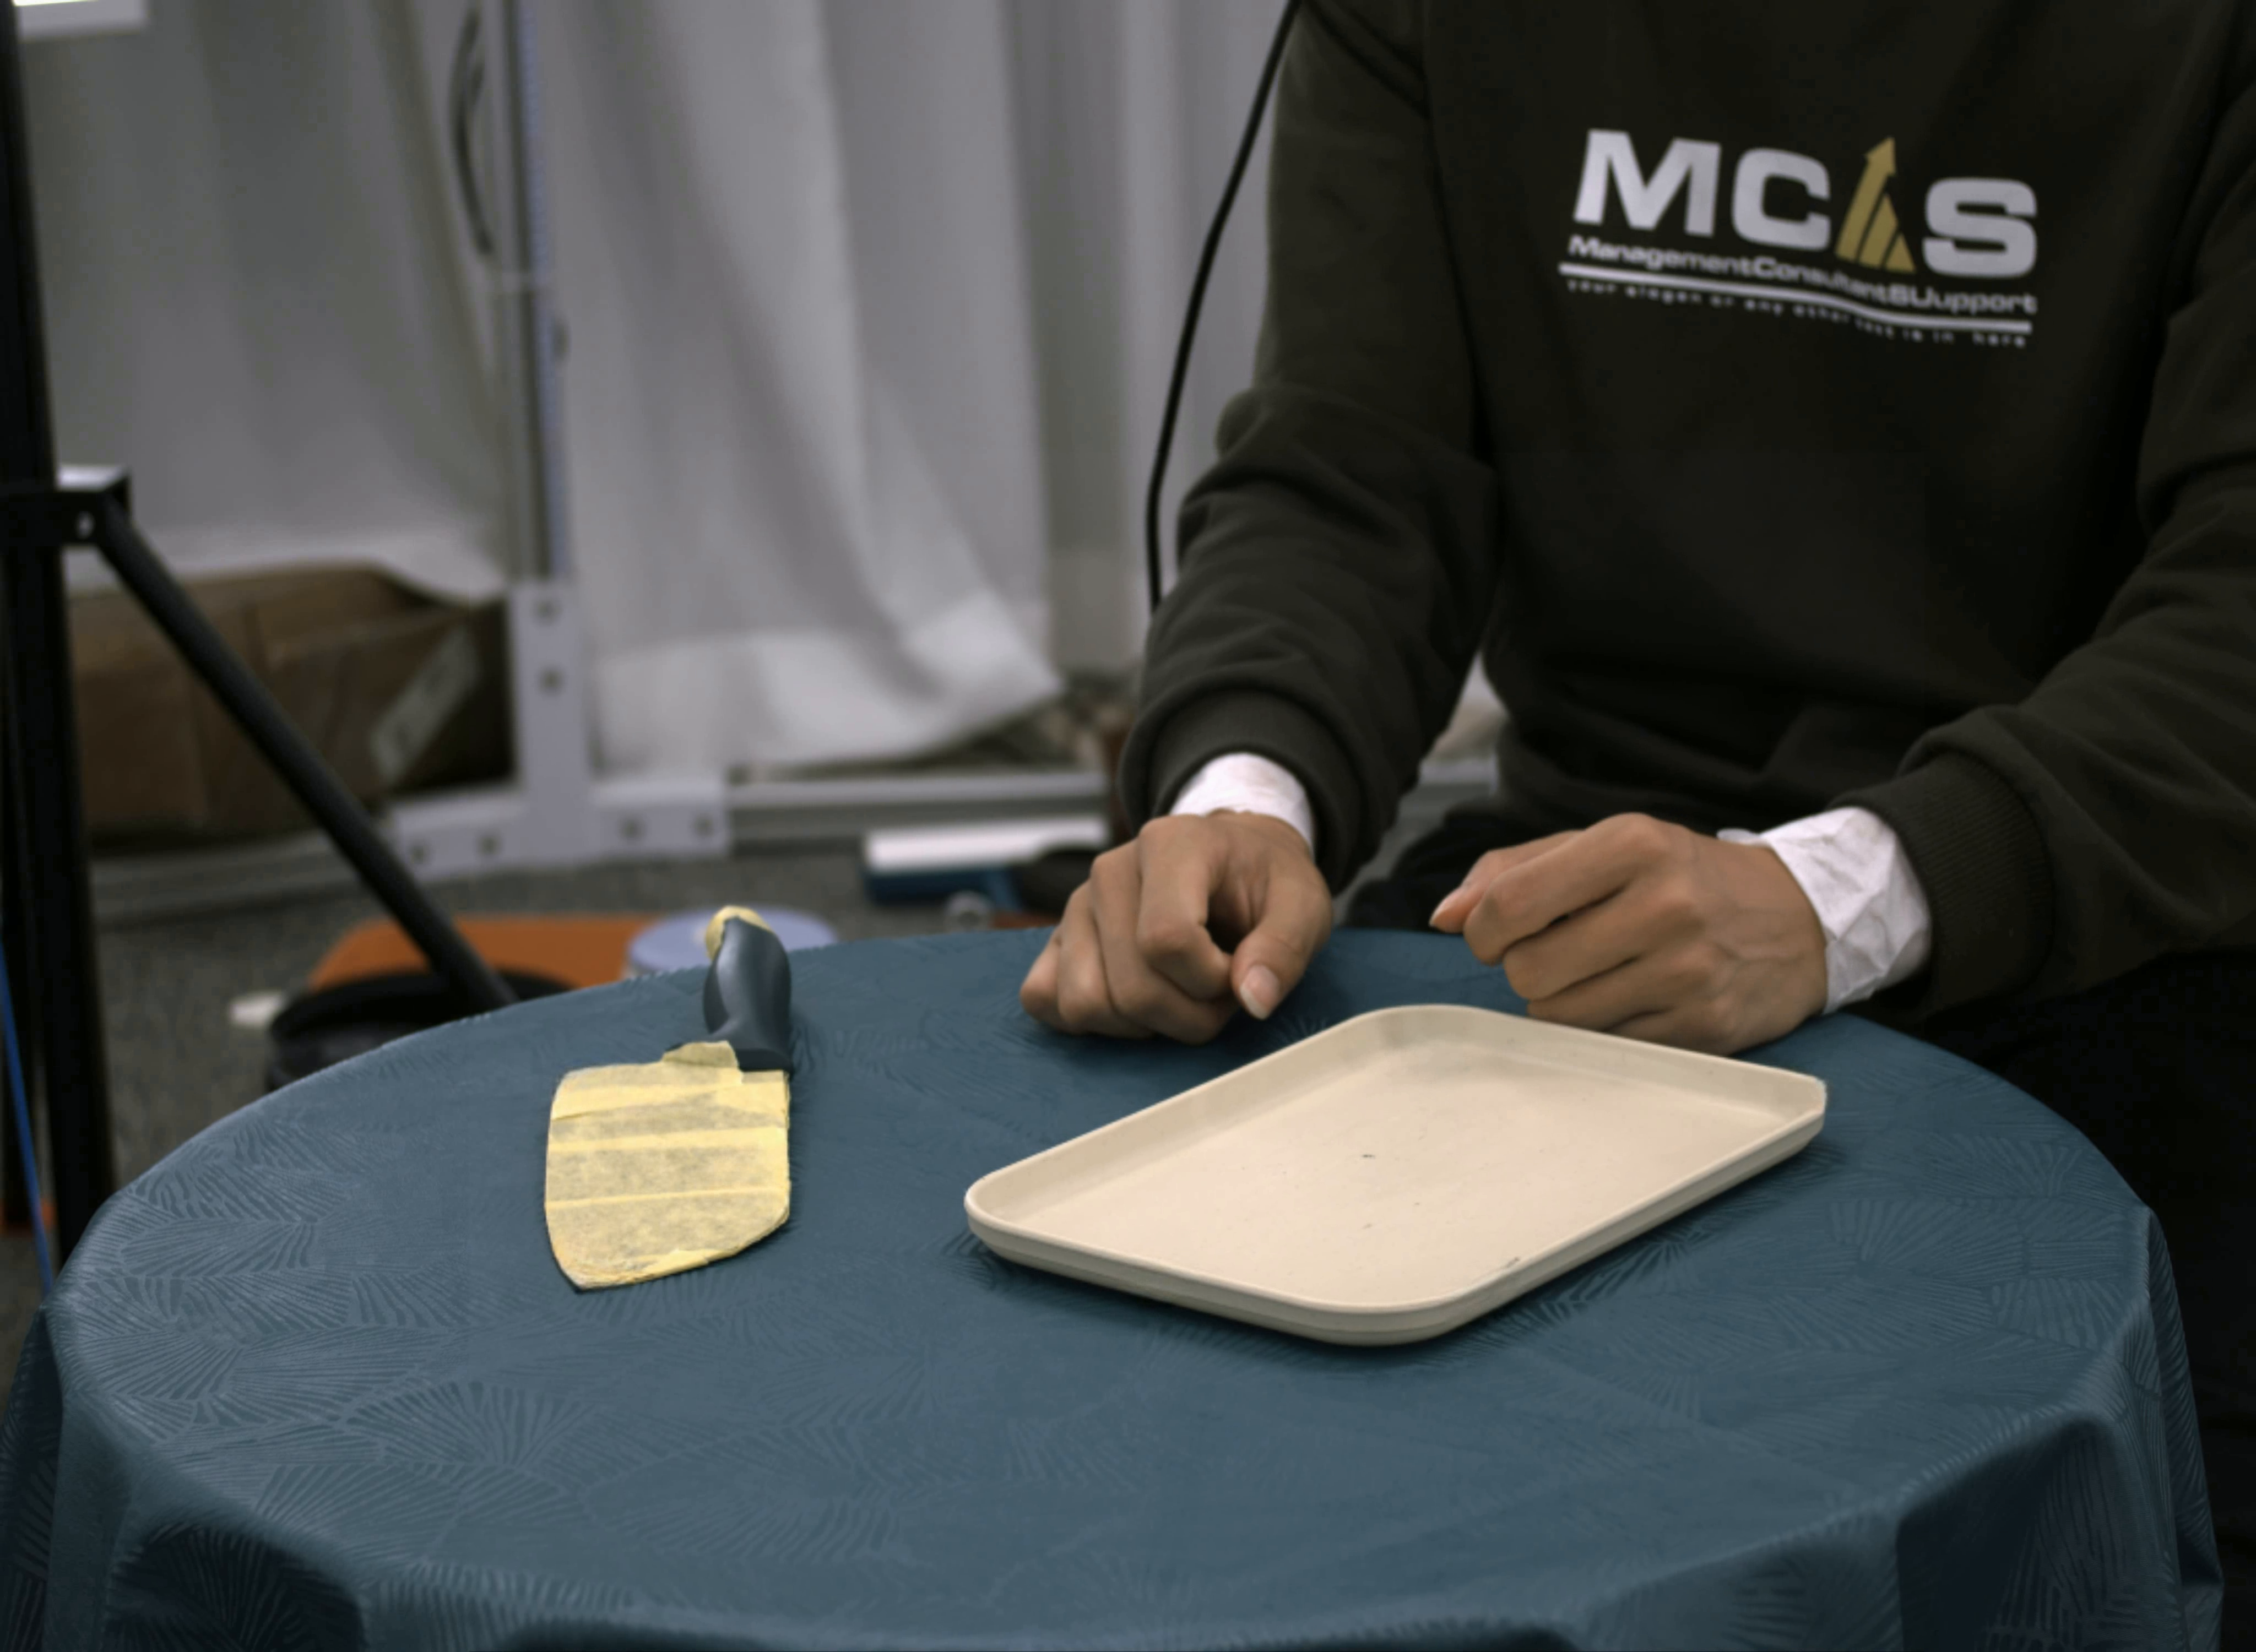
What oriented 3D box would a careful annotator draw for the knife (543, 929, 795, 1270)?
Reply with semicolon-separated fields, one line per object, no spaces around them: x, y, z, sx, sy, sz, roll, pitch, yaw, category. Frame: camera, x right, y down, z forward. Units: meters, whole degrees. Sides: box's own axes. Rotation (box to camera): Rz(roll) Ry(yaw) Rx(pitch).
-0.139;0.084;1.642;0.080;0.027;0.291;-1;17;-1;knife

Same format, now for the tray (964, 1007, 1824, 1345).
0.080;0.100;1.544;0.175;0.017;0.234;10;20;39;tray
